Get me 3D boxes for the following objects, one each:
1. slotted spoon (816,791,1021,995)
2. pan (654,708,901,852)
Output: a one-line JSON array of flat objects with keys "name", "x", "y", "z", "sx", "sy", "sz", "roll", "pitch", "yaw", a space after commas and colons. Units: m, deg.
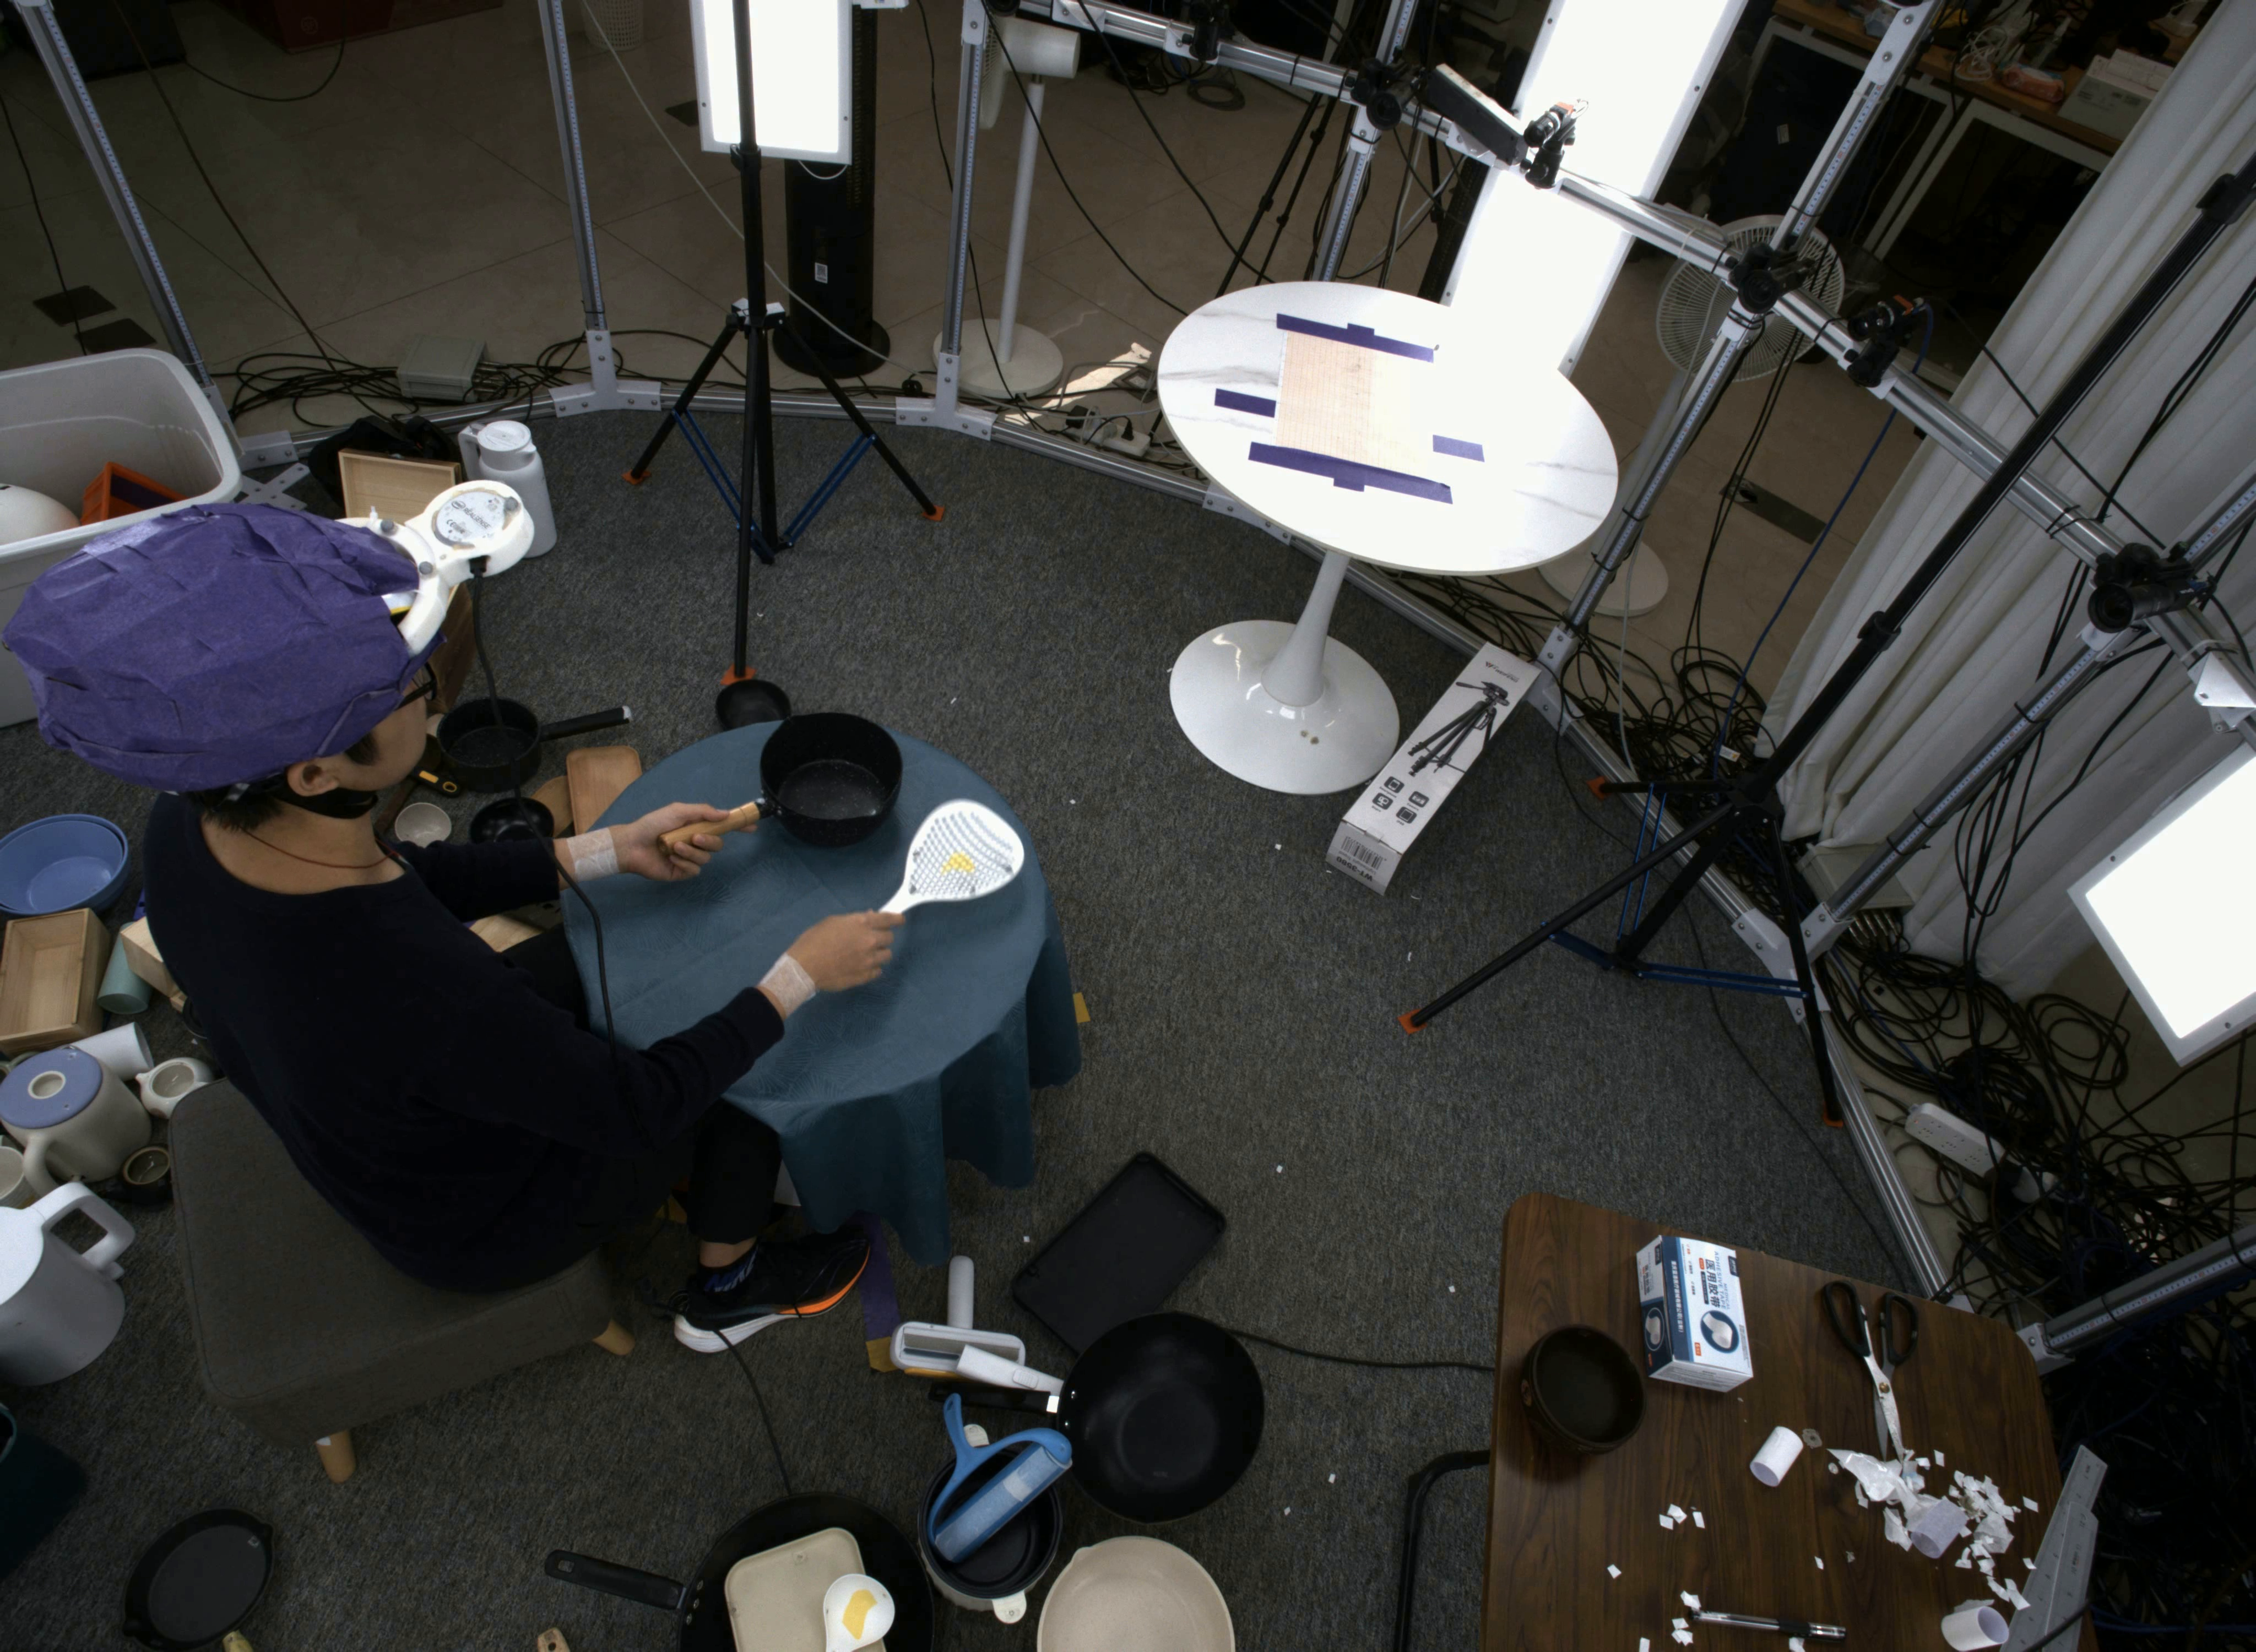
[{"name": "slotted spoon", "x": -0.267, "y": 0.081, "z": 1.603, "sx": 0.136, "sy": 0.051, "sz": 0.347, "roll": 40, "pitch": 47, "yaw": 4}, {"name": "pan", "x": -0.447, "y": -0.027, "z": 1.658, "sx": 0.344, "sy": 0.110, "sz": 0.203, "roll": -34, "pitch": 69, "yaw": -34}]
